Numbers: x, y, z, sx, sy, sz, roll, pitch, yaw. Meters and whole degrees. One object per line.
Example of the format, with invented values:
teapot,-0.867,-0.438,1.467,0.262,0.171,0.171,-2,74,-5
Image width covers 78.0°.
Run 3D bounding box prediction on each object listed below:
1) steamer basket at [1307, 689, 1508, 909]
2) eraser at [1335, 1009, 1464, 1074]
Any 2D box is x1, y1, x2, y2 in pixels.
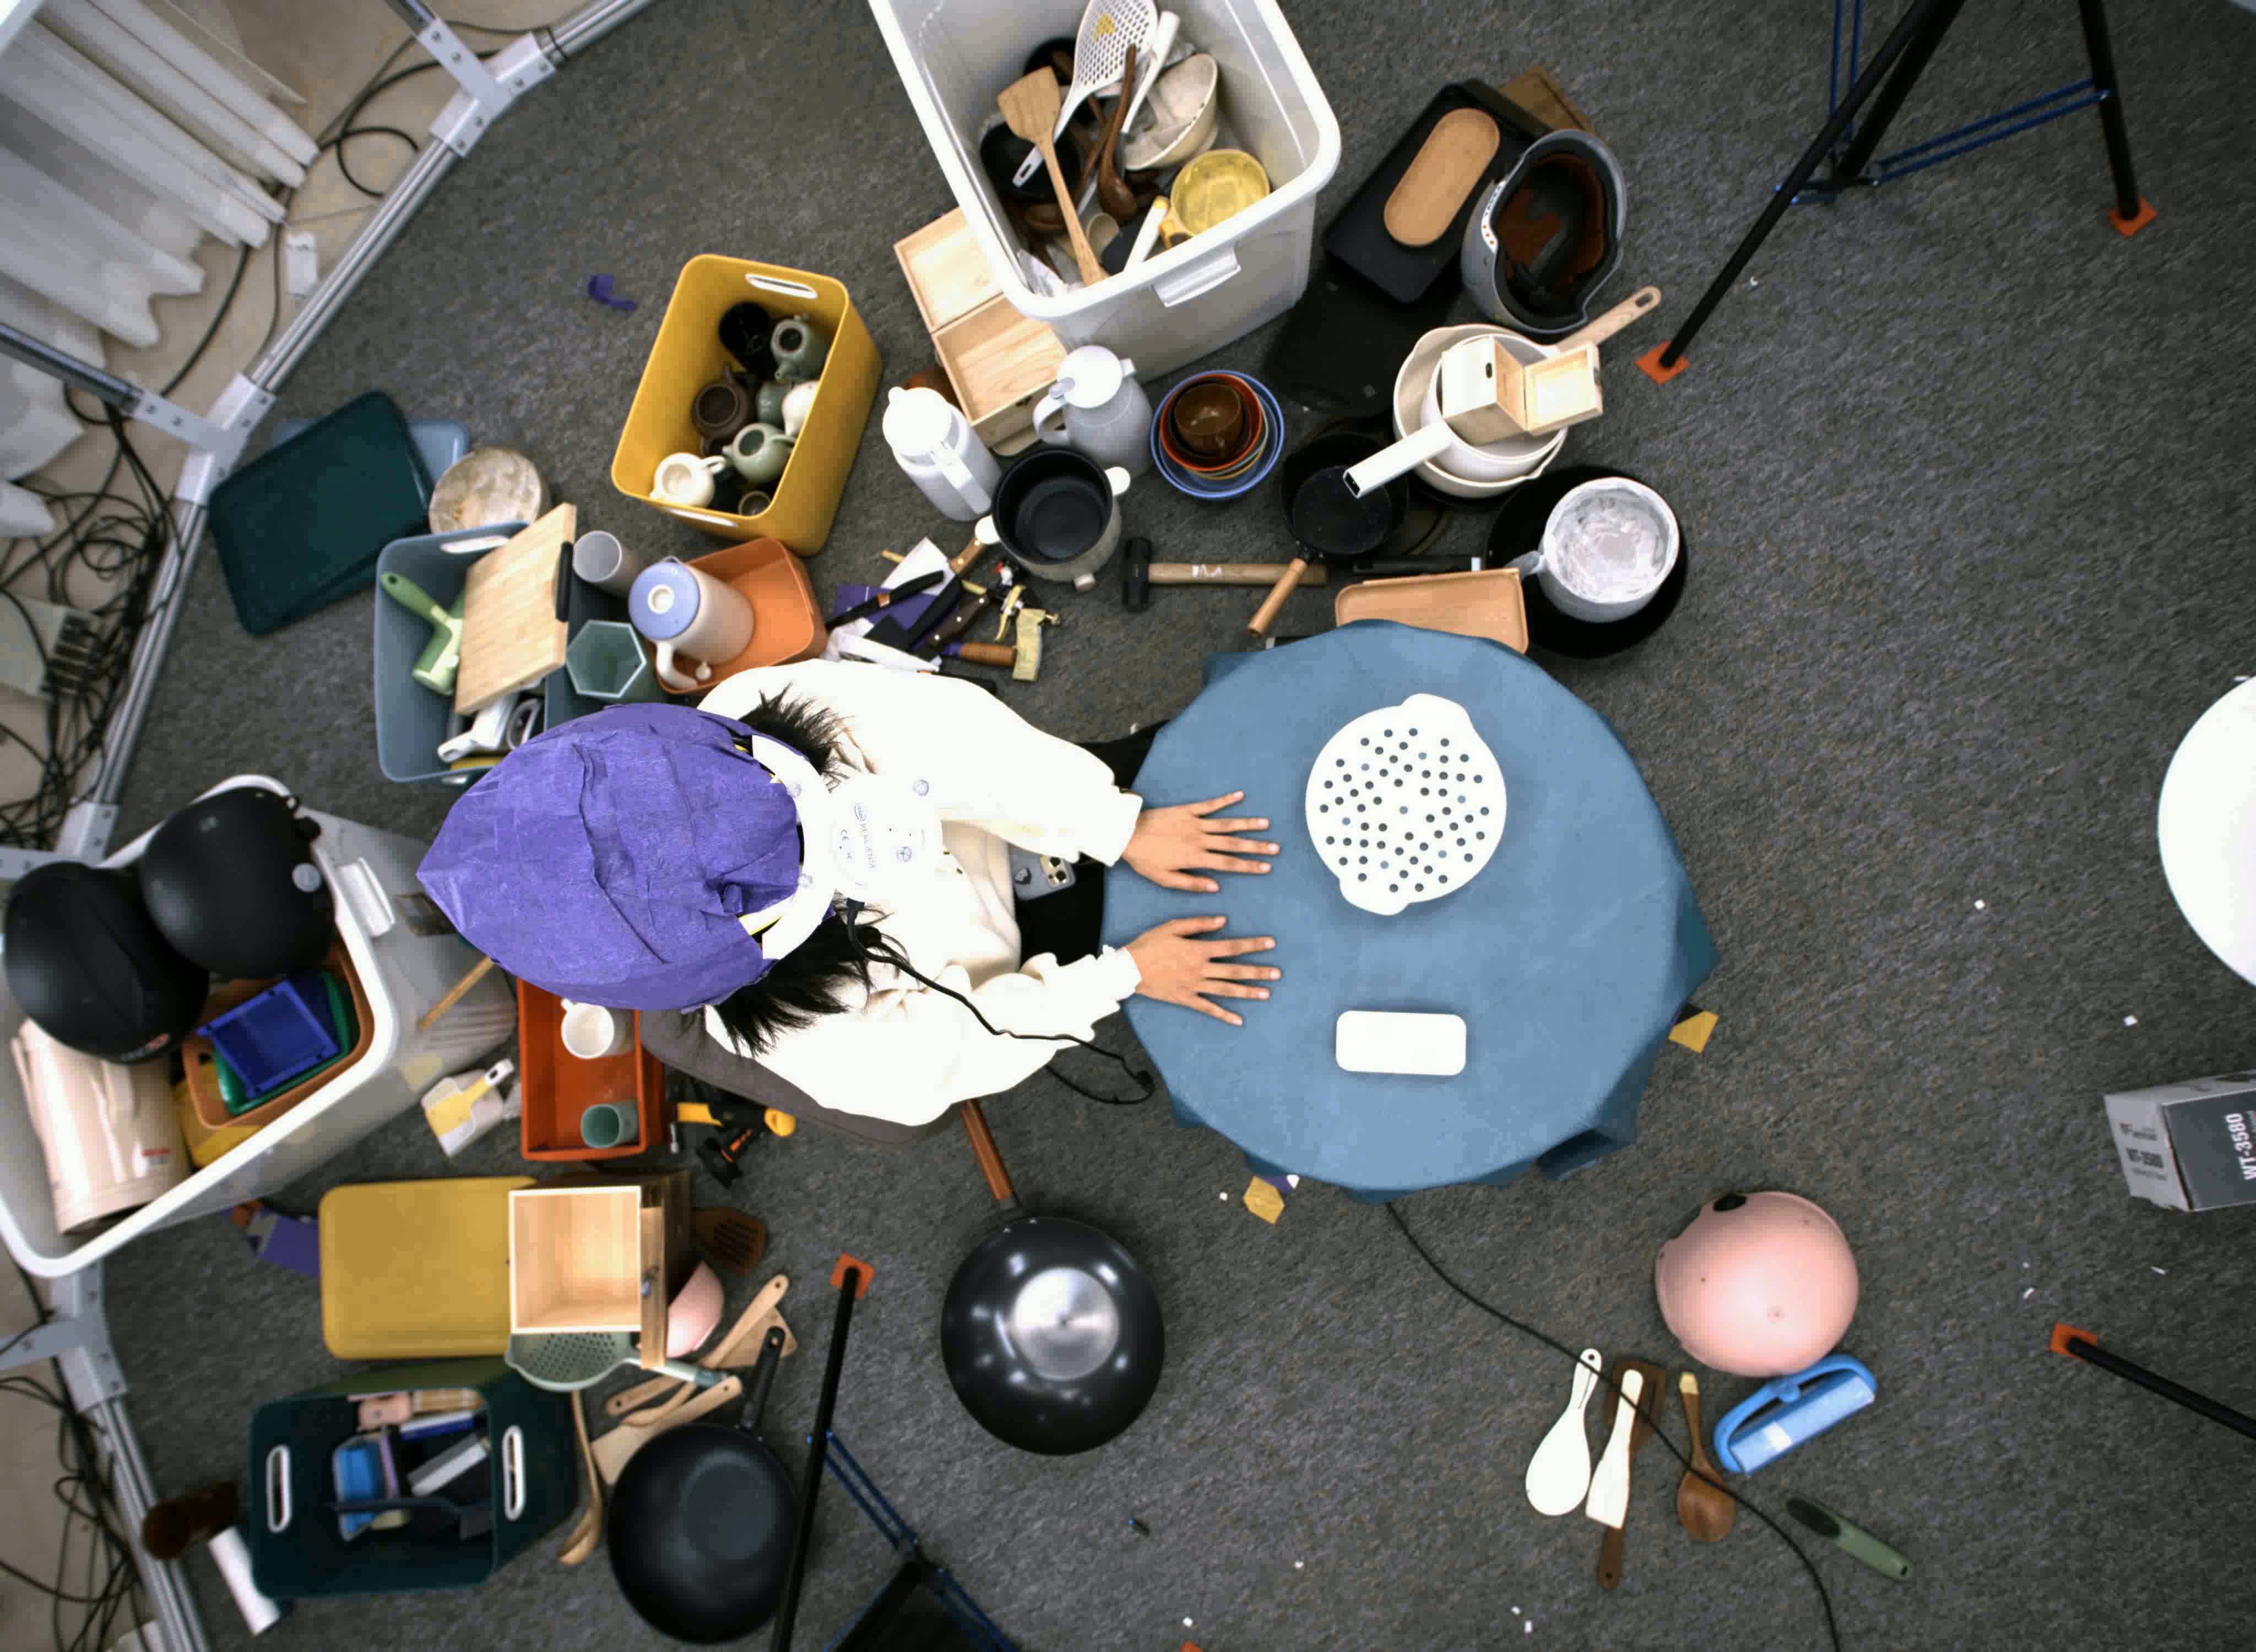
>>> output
steamer basket,0.288,-0.026,1.428,0.202,0.069,0.230,19,89,11
eraser,0.281,0.221,1.434,0.132,0.034,0.063,2,87,10
